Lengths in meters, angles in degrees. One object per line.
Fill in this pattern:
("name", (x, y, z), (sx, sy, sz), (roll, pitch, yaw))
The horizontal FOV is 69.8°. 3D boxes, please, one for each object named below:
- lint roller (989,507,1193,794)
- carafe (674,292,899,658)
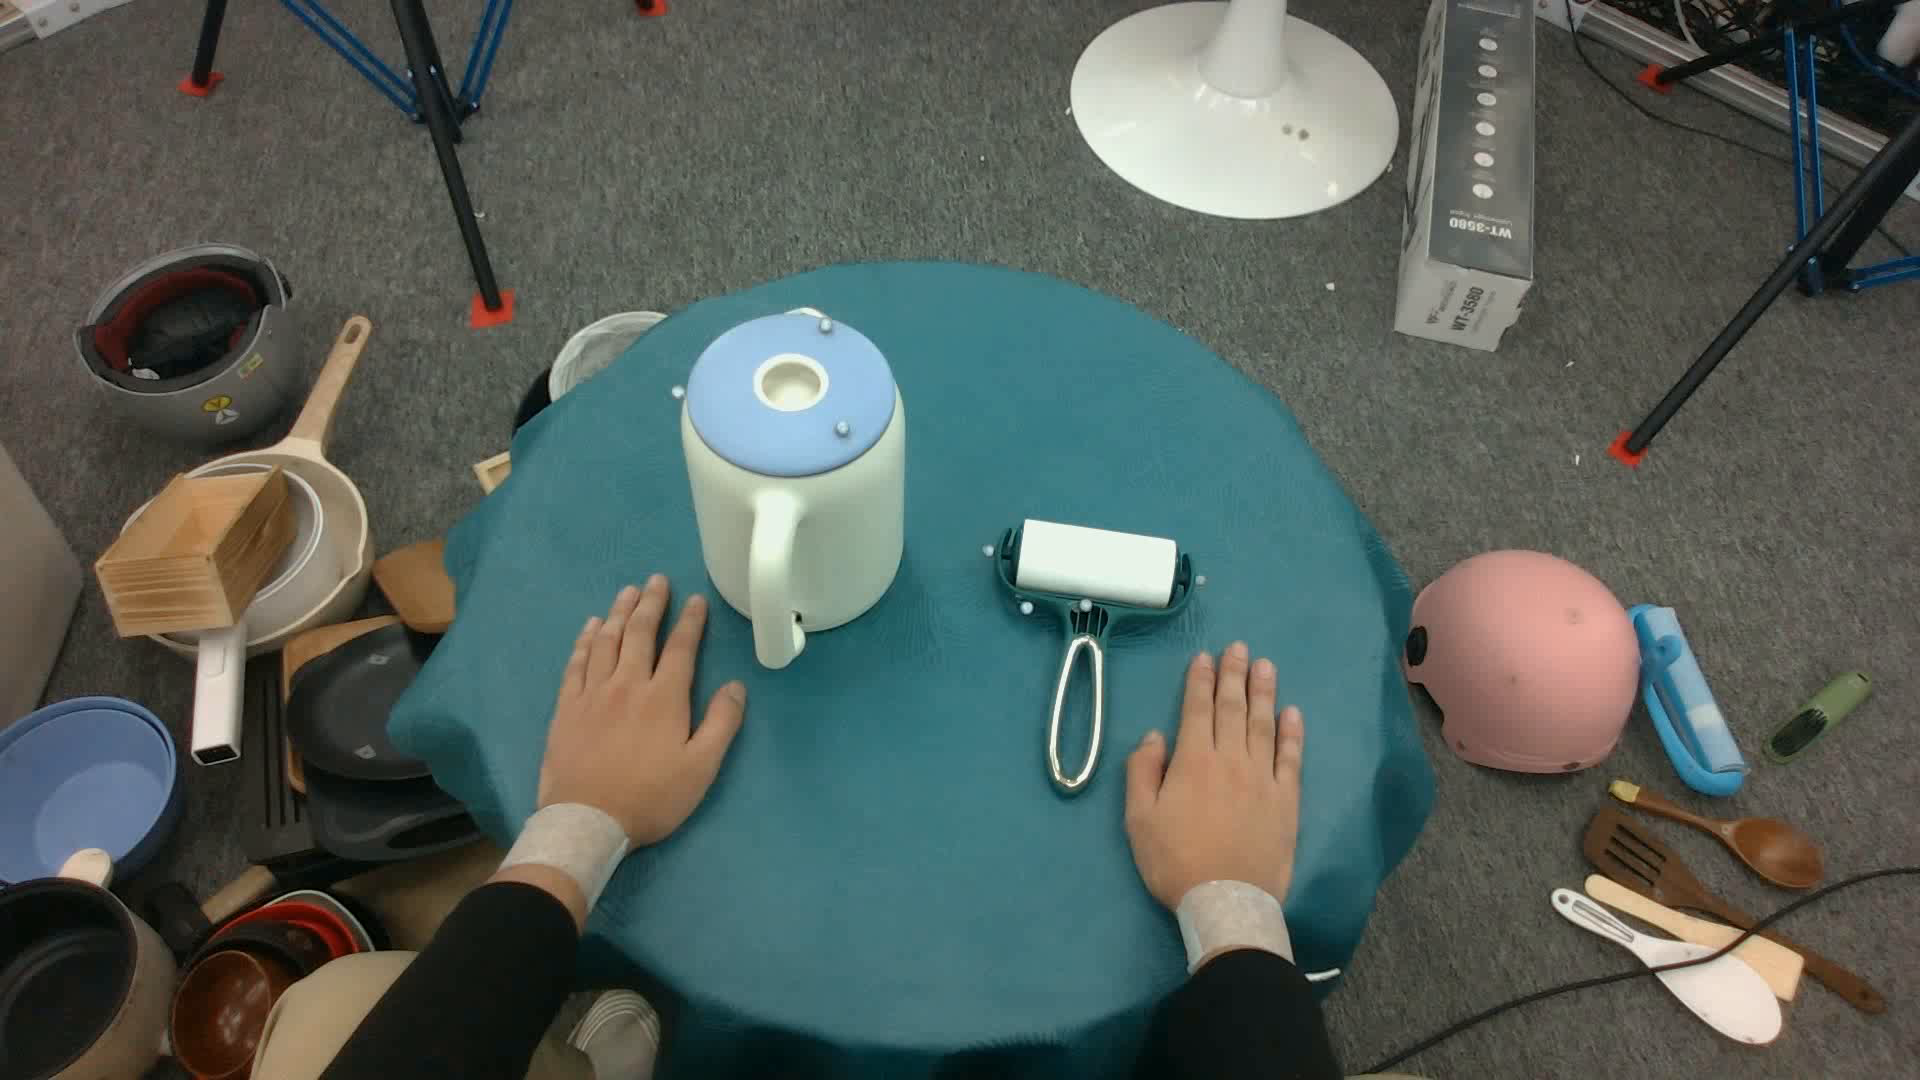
("lint roller", (0.075, 0.066, 0.863), (0.134, 0.048, 0.181), (8, 59, 2))
("carafe", (-0.105, -0.026, 0.834), (0.132, 0.181, 0.192), (3, 58, -1))
